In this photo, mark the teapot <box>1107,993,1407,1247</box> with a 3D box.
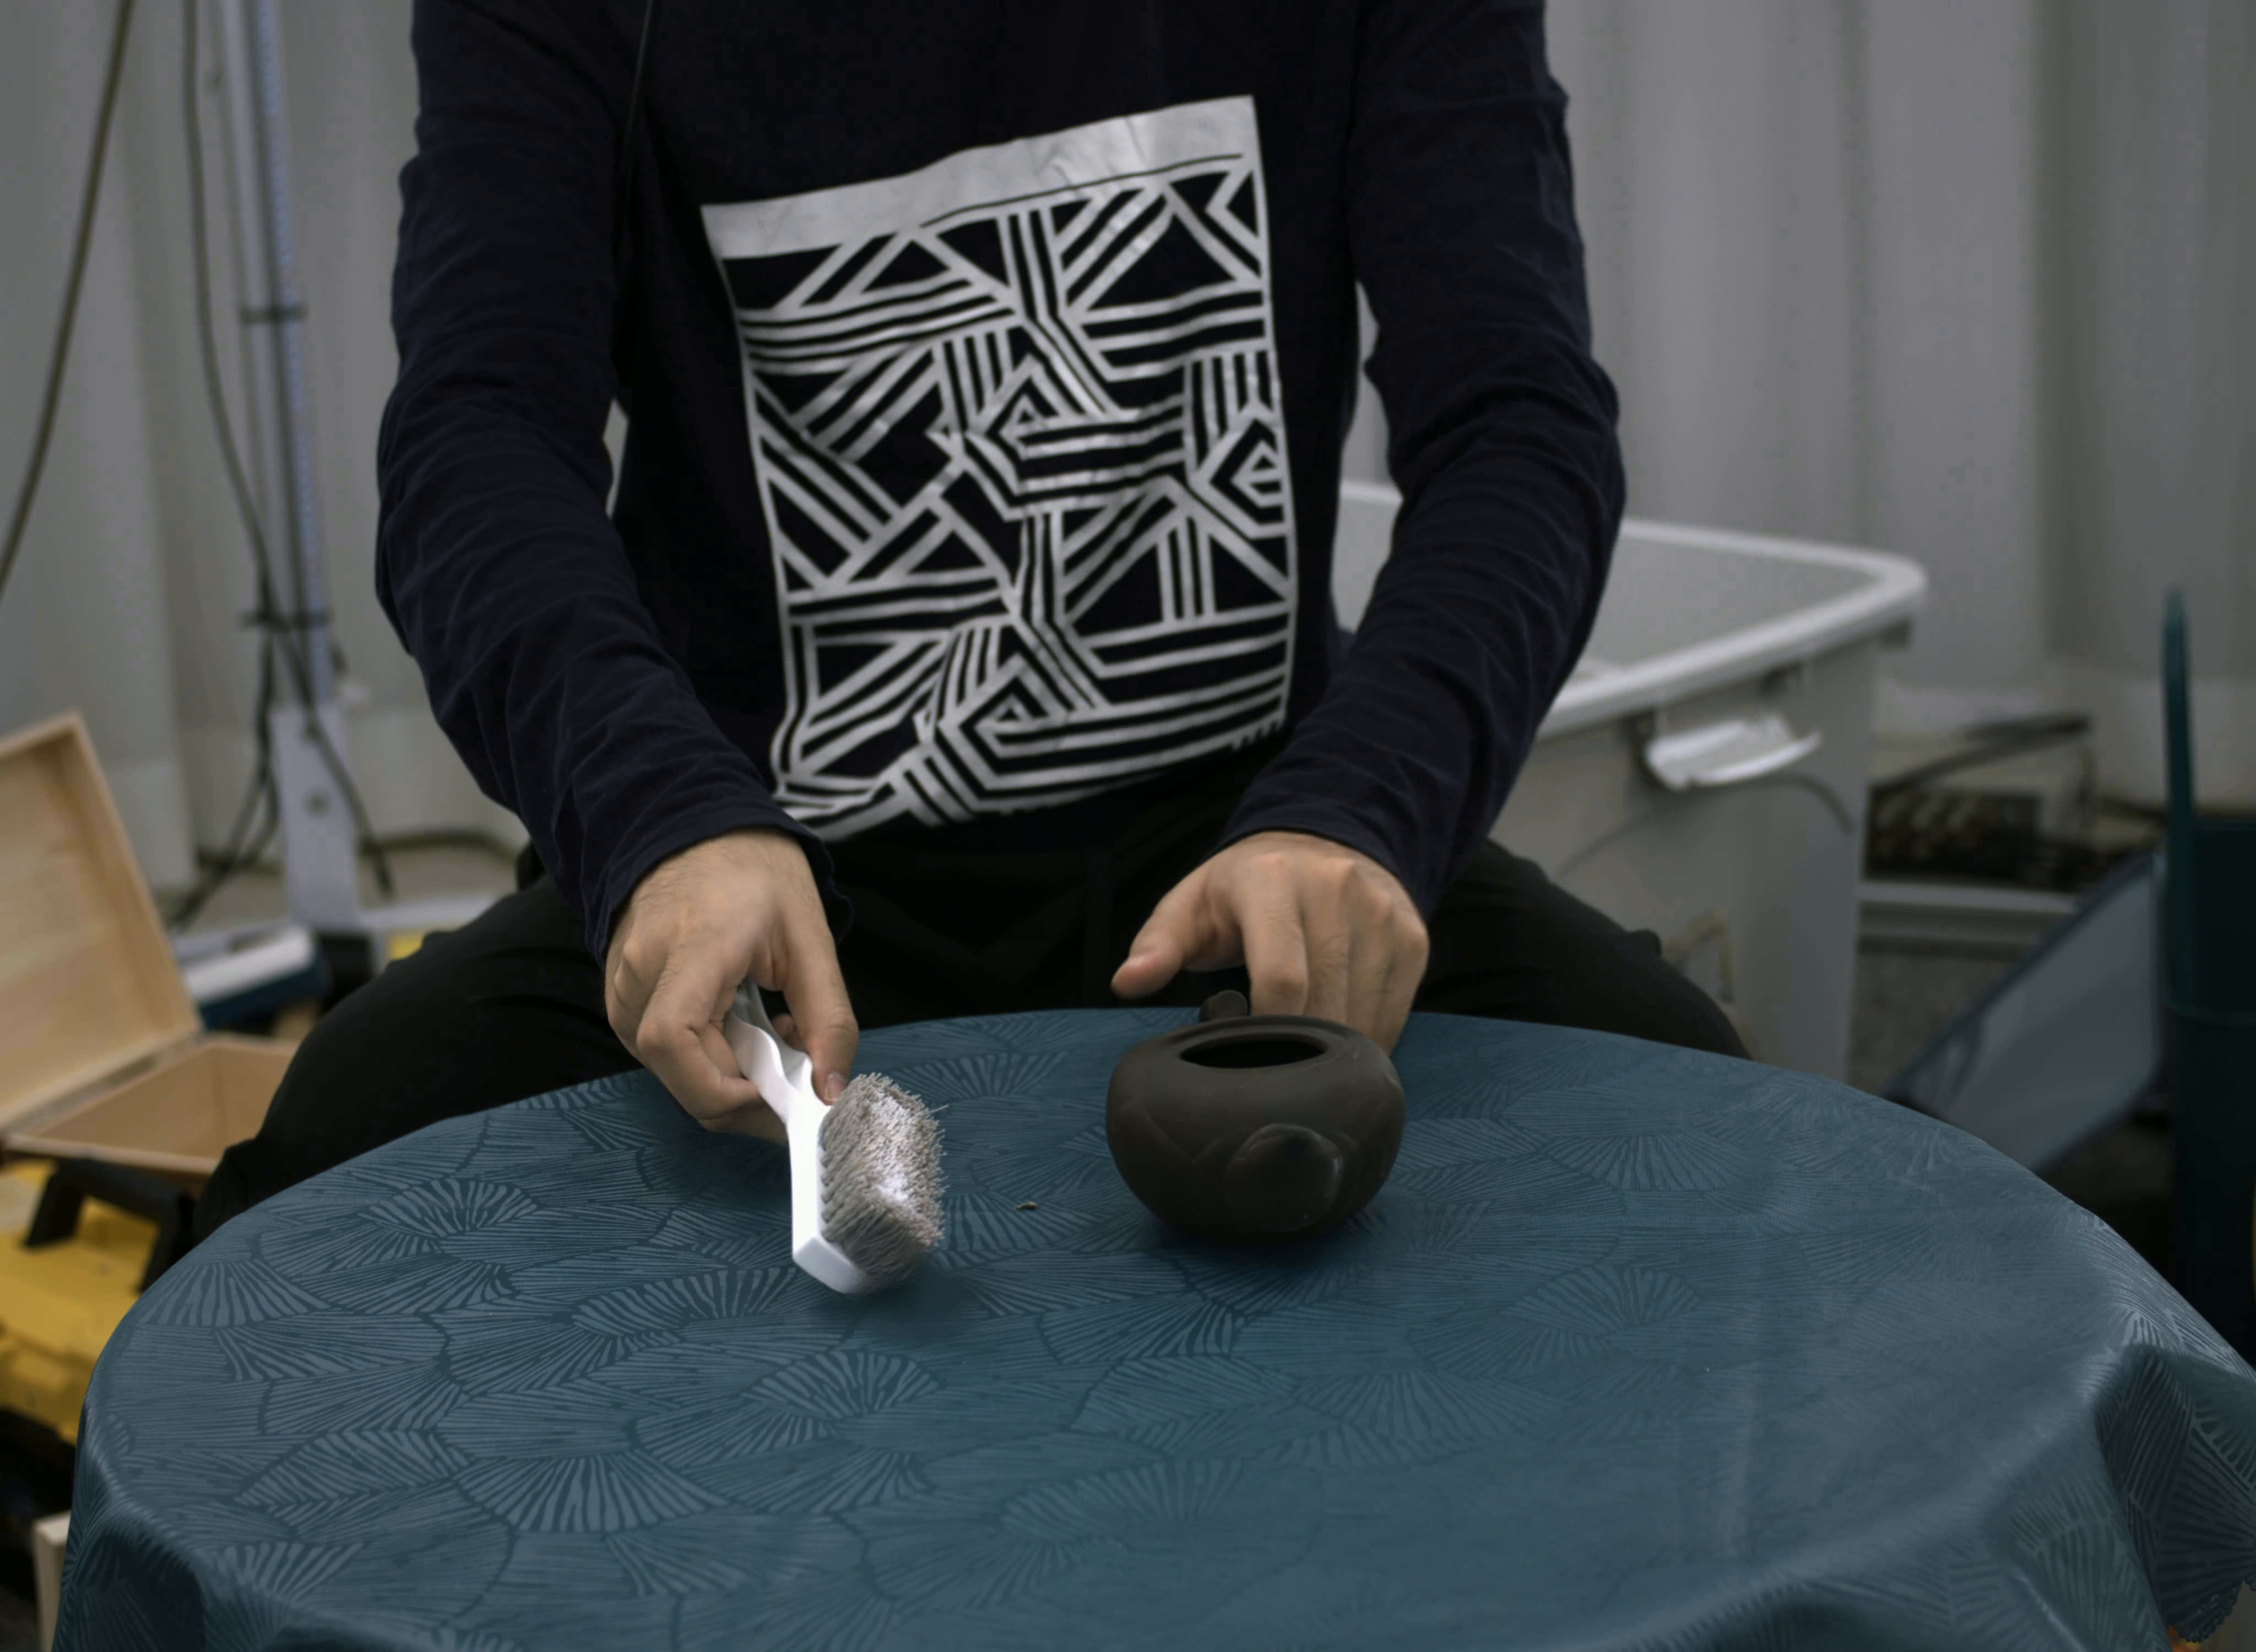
[{"bbox_3d":[0.039,0.091,1.678,0.092,0.064,0.155,-5,14,-6],"label":"teapot"}]

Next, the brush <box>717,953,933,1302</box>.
[{"bbox_3d":[-0.096,0.076,1.712,0.034,0.050,0.246,24,15,-19],"label":"brush"}]
